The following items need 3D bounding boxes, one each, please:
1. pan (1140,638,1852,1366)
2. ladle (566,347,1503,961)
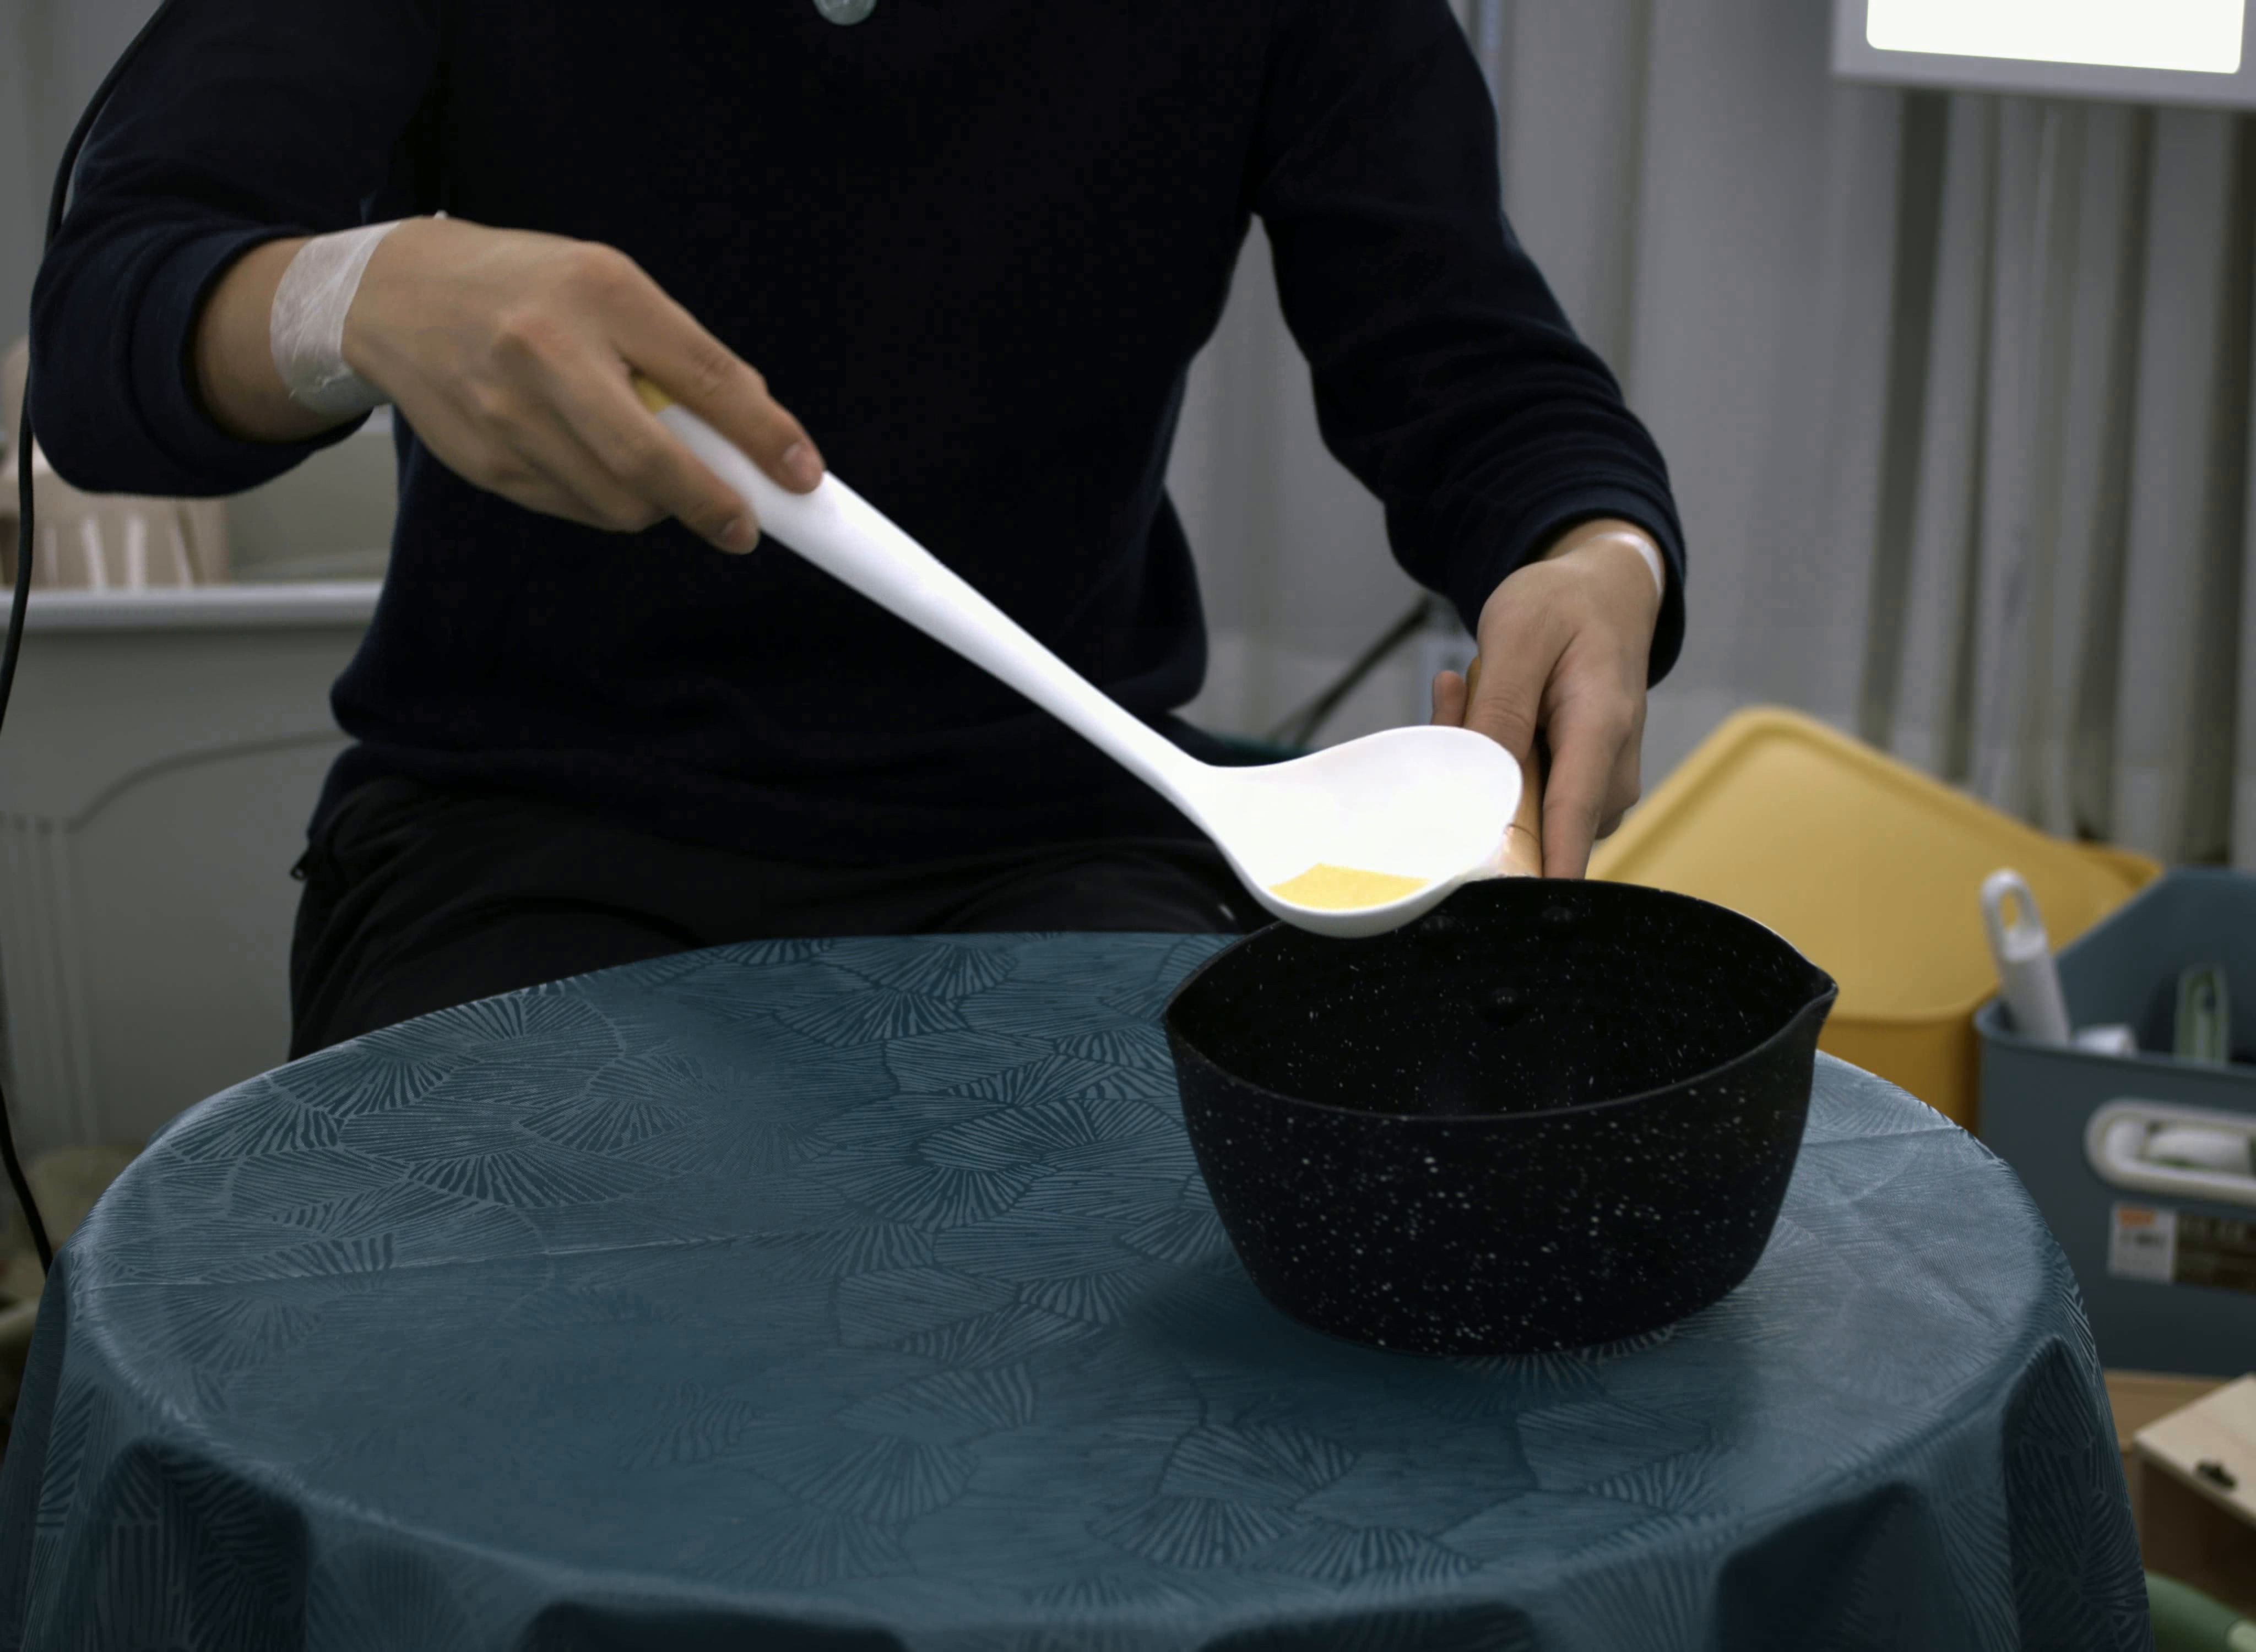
[{"bbox_3d":[0.112,0.048,1.605,0.206,0.109,0.341,-3,21,5],"label":"pan"},{"bbox_3d":[-0.031,-0.056,1.502,0.292,0.070,0.090,34,57,4],"label":"ladle"}]
